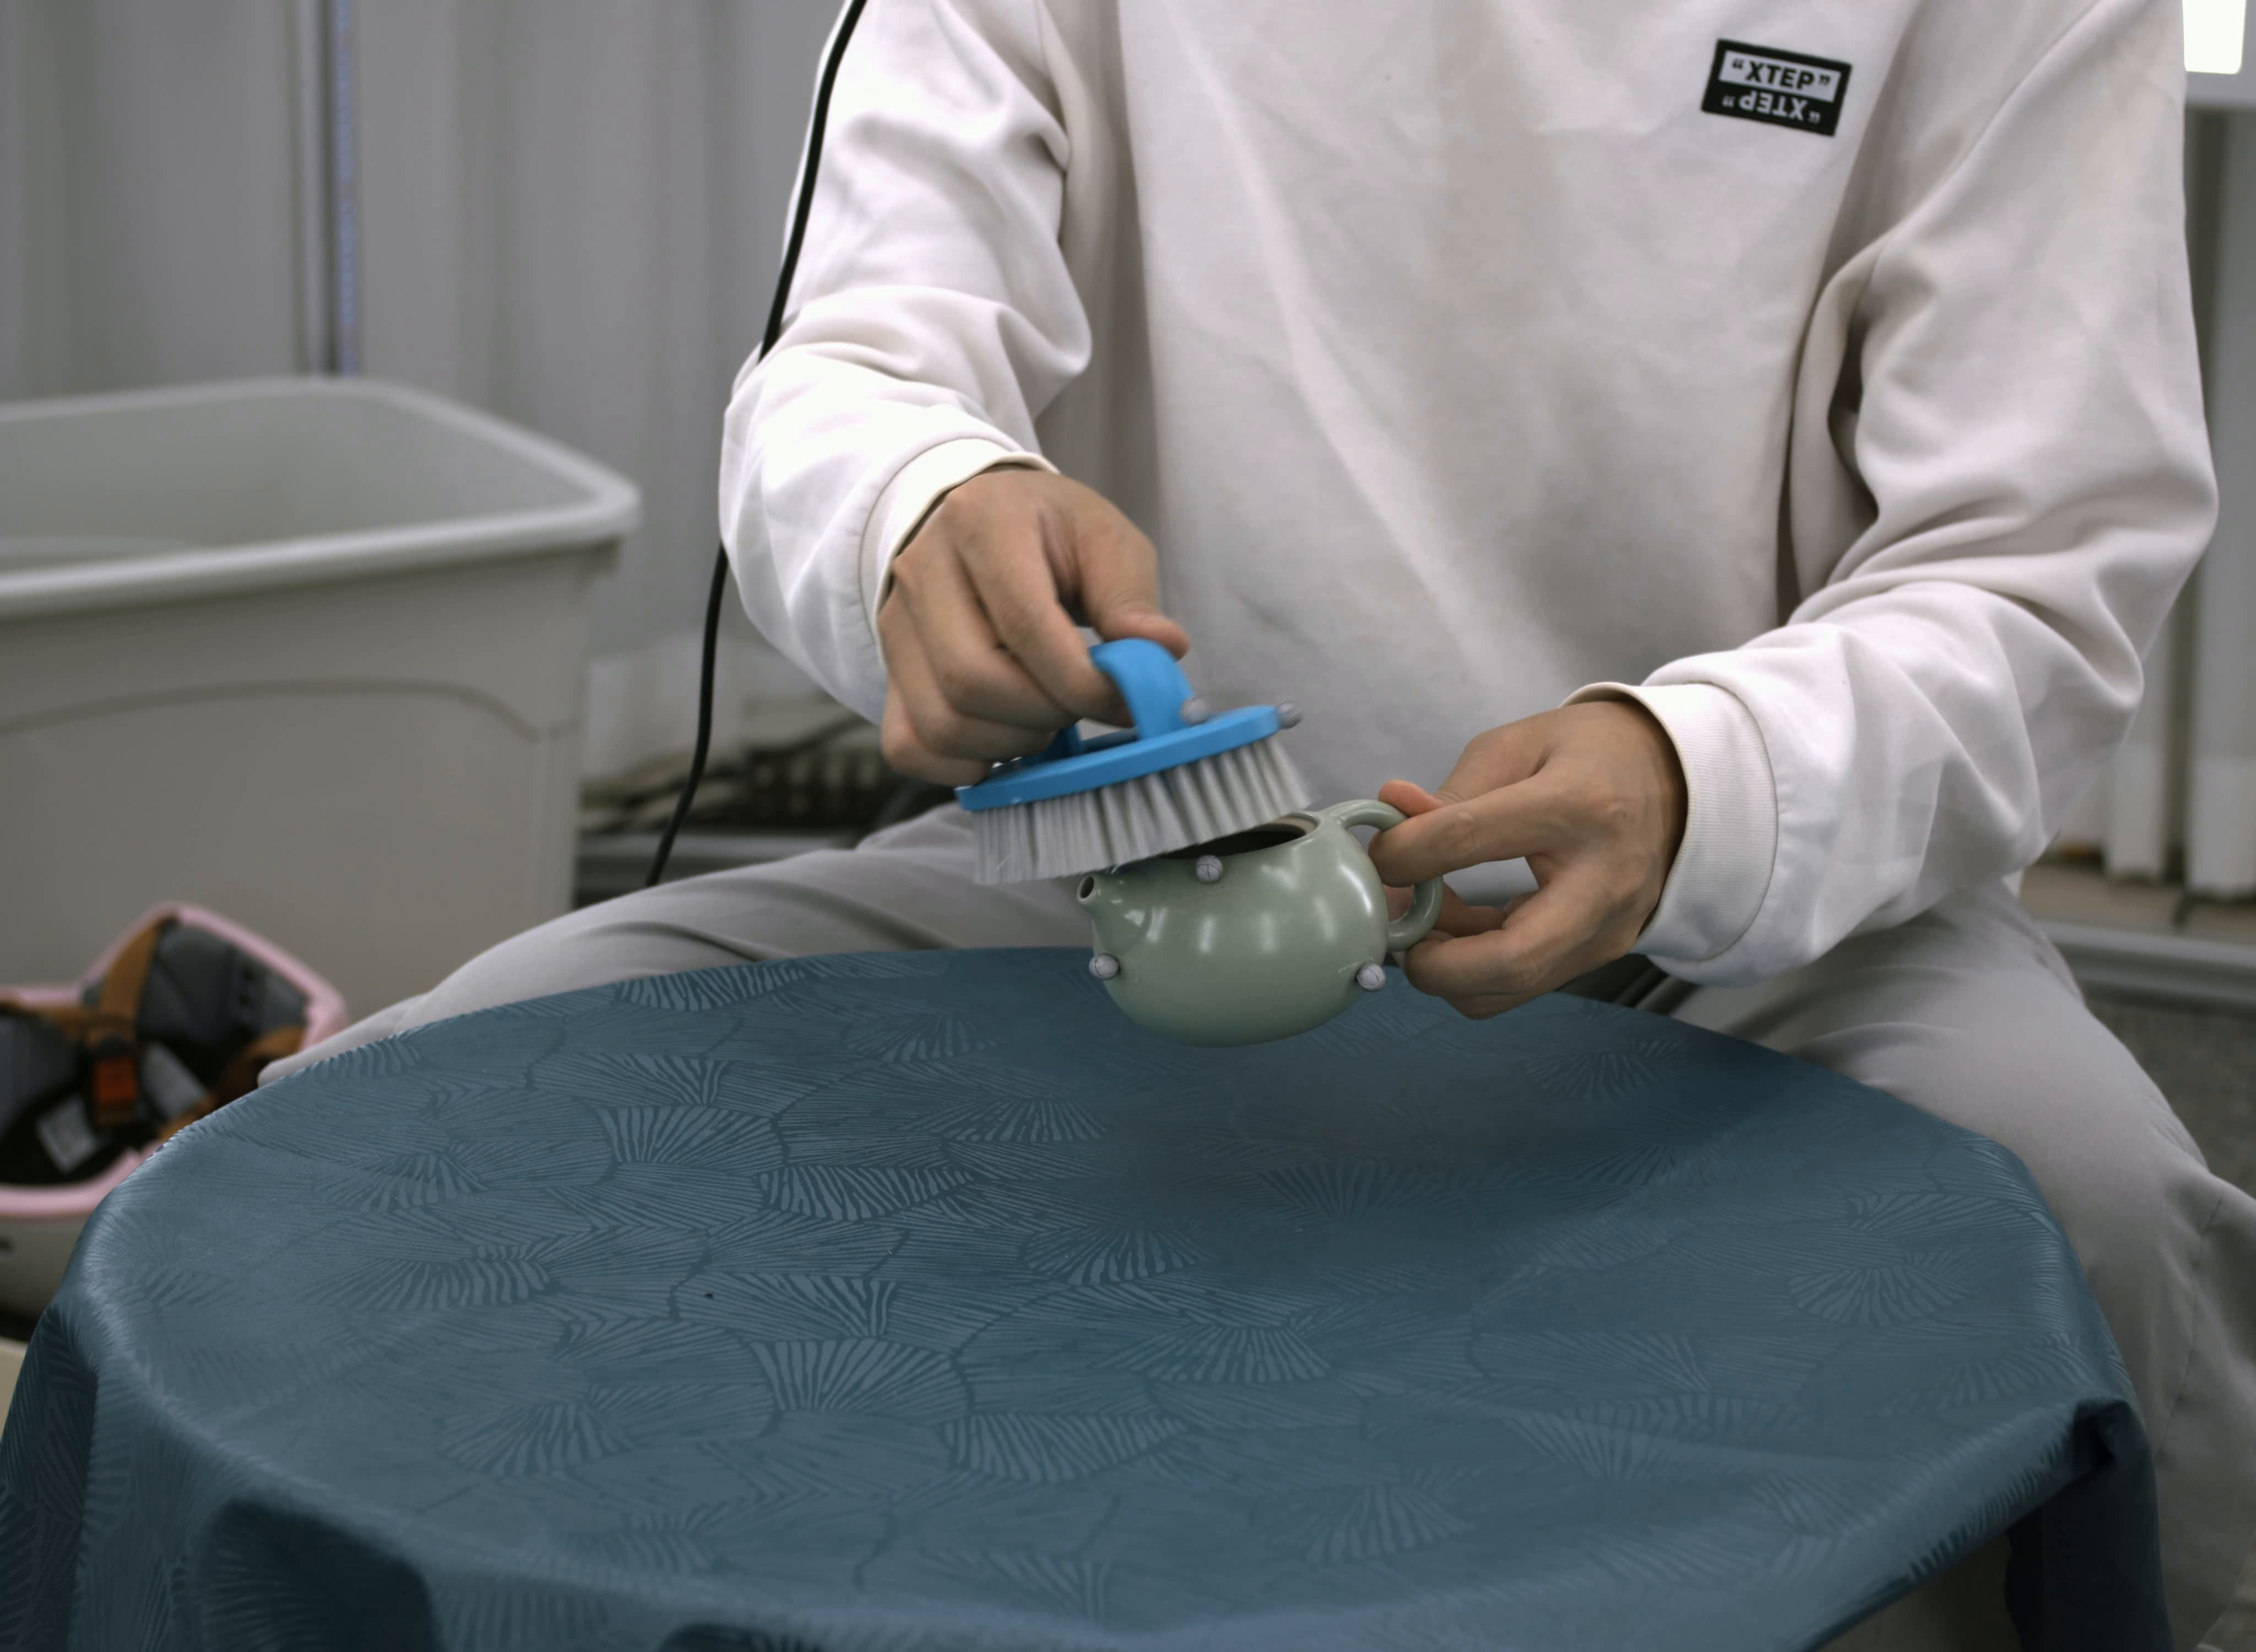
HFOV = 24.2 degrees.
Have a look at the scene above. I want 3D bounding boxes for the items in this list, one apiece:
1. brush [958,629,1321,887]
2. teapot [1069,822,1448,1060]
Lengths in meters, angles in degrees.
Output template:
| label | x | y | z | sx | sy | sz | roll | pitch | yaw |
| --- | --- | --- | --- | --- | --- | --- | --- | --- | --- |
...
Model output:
| label | x | y | z | sx | sy | sz | roll | pitch | yaw |
| --- | --- | --- | --- | --- | --- | --- | --- | --- | --- |
| brush | -0.003 | -0.026 | 1.607 | 0.084 | 0.064 | 0.141 | -22 | 5 | -25 |
| teapot | 0.042 | 0.035 | 1.621 | 0.129 | 0.061 | 0.091 | -12 | 4 | -26 |
